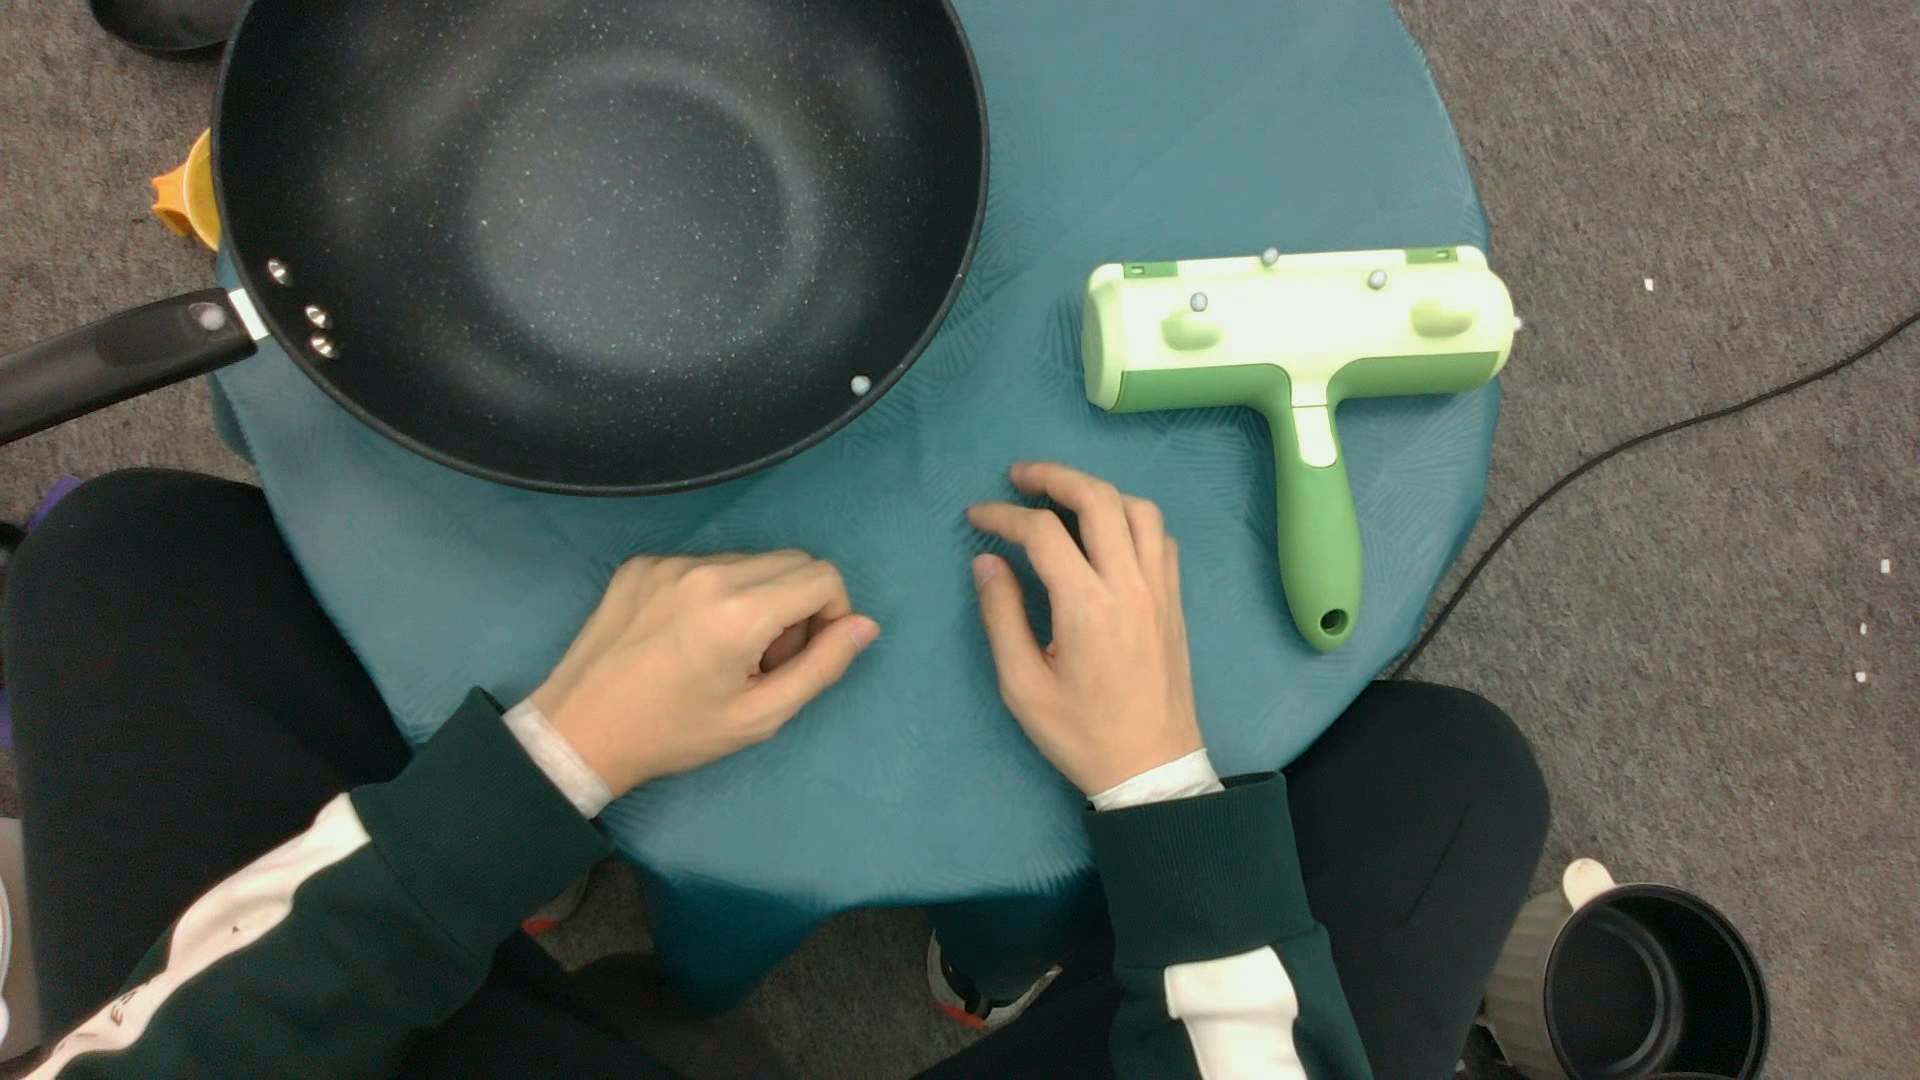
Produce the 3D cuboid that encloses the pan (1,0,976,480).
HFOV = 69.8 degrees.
[{"bbox_3d":[-0.218,-0.123,0.574,0.478,0.111,0.310,-33,82,-14],"label":"pan"}]

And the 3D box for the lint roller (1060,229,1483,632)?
[{"bbox_3d":[0.154,-0.055,0.625,0.199,0.082,0.184,-5,73,-9],"label":"lint roller"}]
